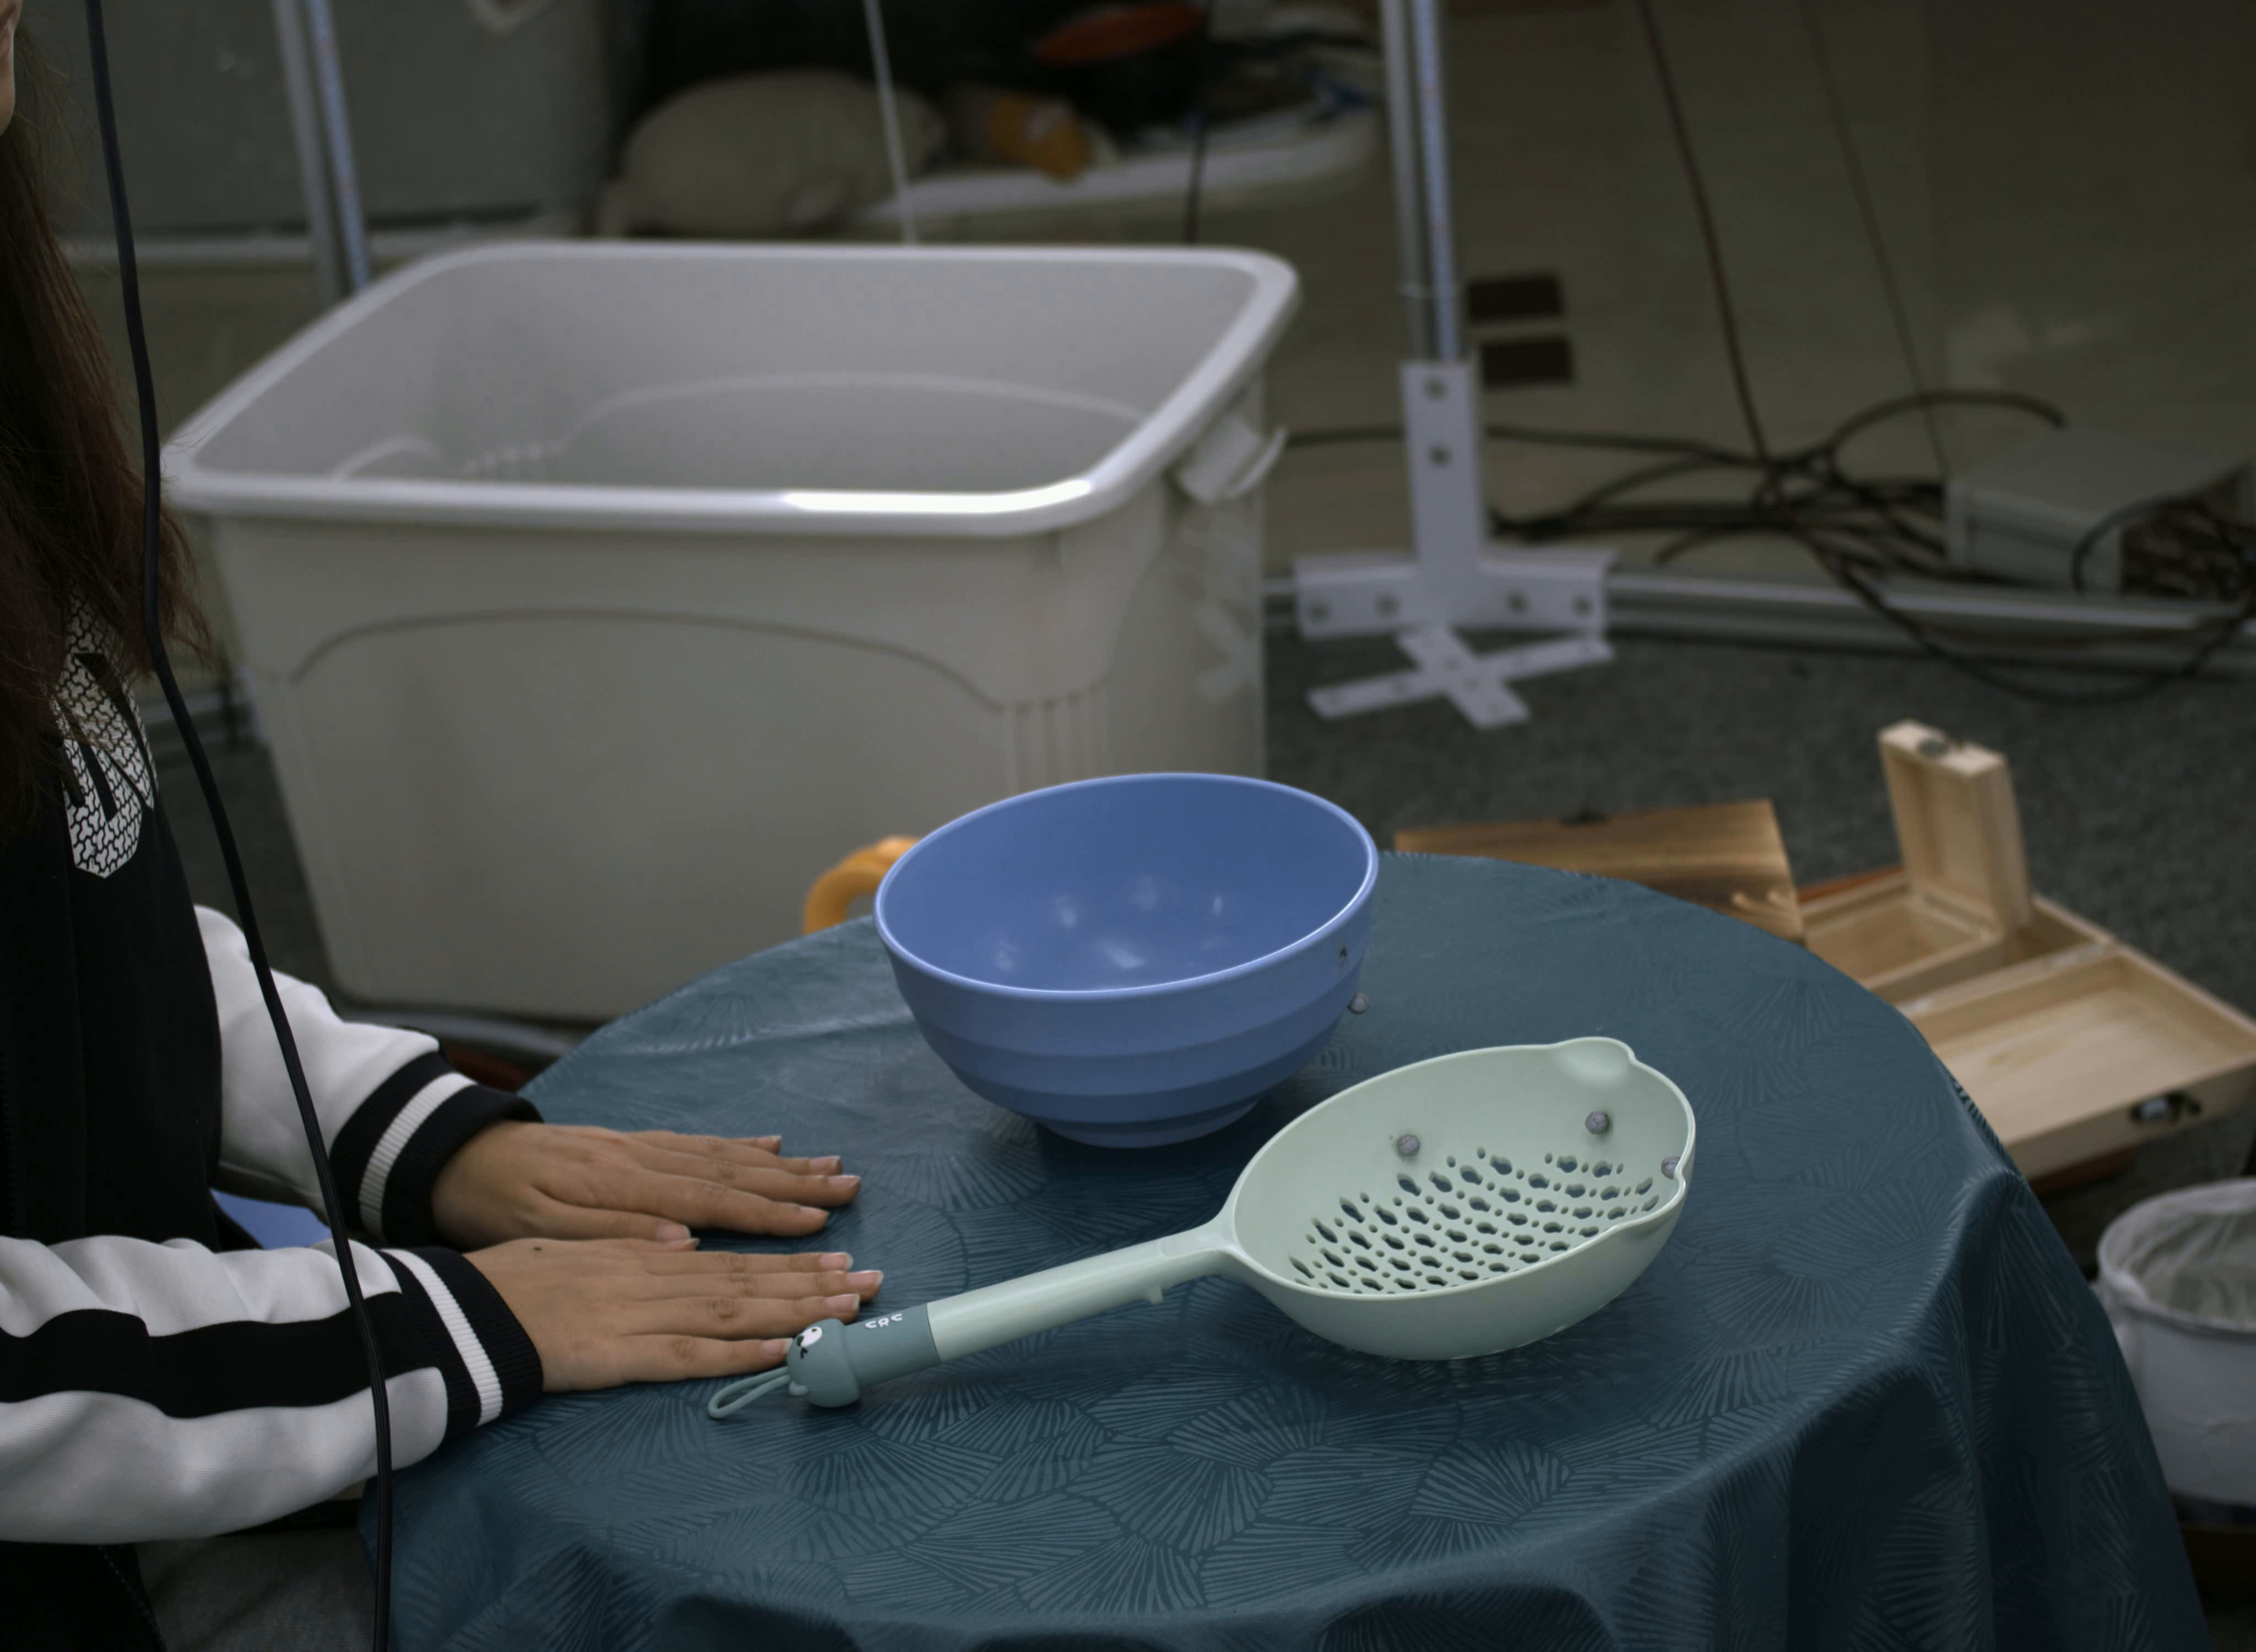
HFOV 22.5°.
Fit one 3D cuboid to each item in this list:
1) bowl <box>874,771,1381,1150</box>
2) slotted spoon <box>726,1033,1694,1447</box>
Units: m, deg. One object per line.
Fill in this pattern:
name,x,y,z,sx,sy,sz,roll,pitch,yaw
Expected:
bowl,0.004,0.063,2.198,0.196,0.097,0.193,-5,26,3
slotted spoon,0.028,0.160,2.027,0.358,0.076,0.167,-9,25,-1
